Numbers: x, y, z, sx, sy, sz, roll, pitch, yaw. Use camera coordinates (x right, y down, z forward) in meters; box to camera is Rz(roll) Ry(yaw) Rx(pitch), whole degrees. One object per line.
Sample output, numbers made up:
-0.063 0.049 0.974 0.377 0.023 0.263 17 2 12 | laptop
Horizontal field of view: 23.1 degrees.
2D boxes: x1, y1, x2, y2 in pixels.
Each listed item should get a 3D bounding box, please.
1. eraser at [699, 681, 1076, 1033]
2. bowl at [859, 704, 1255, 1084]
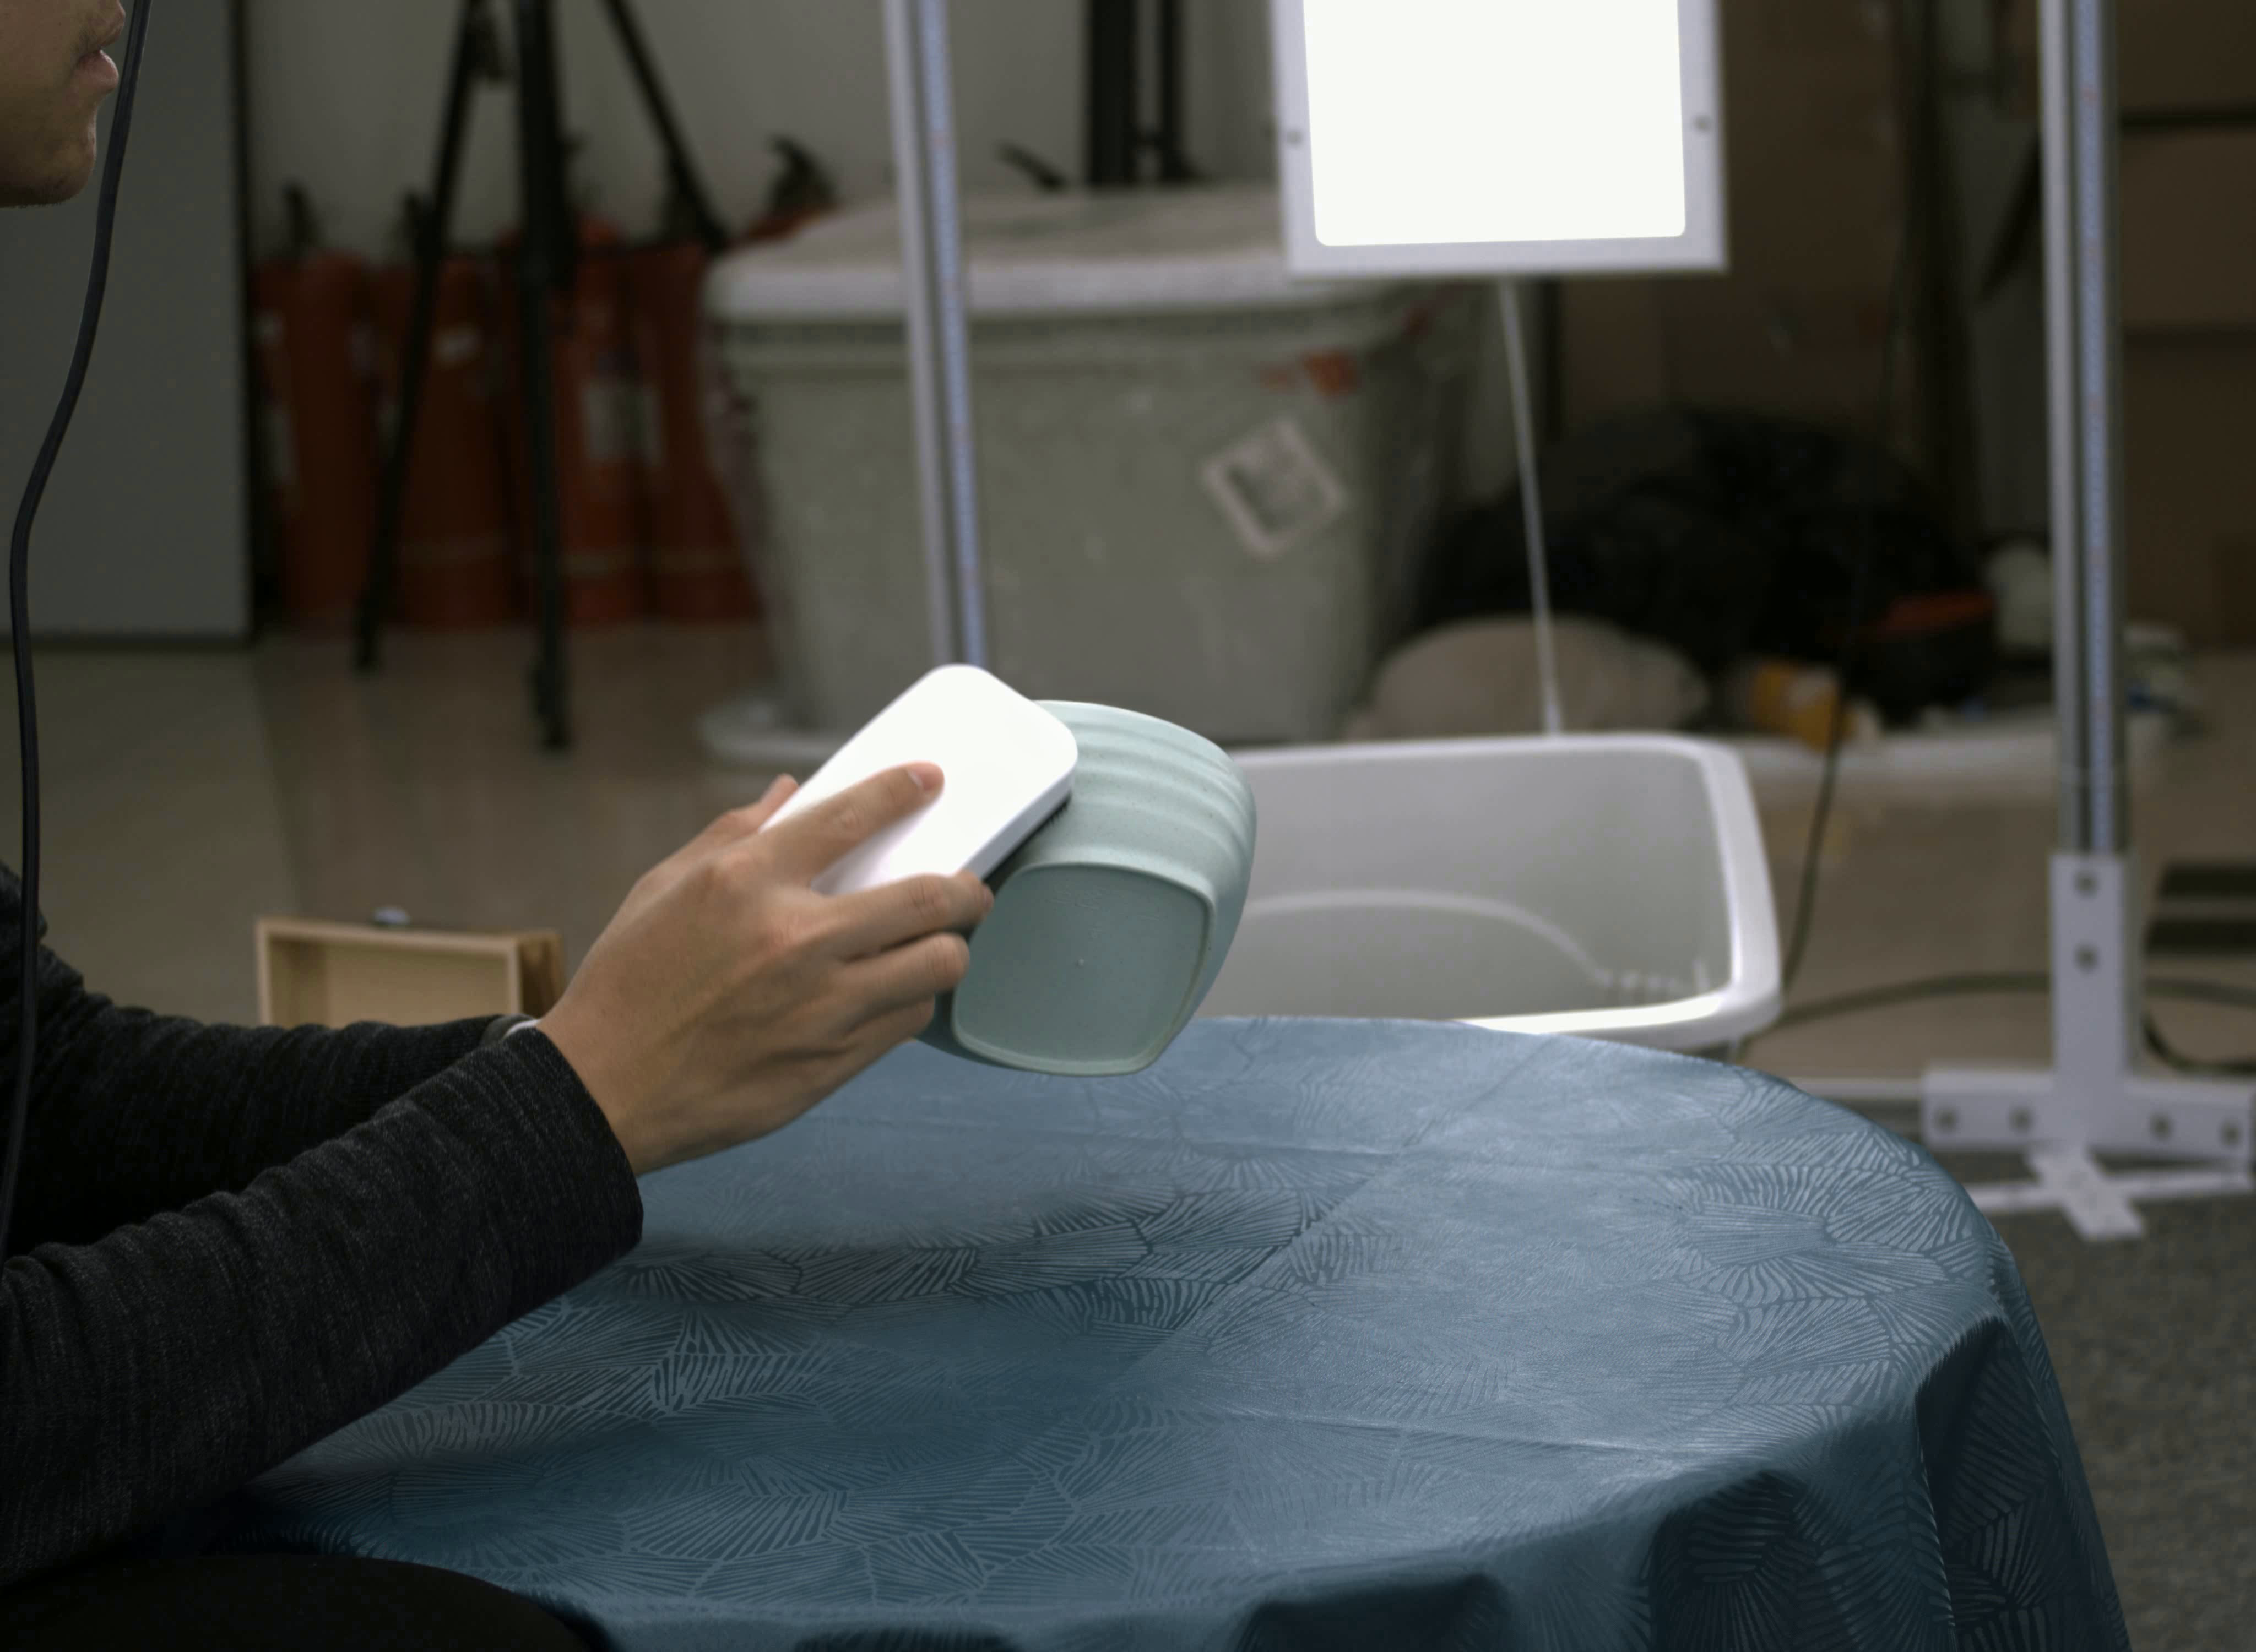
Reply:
-0.077 0.008 1.766 0.064 0.034 0.129 36 65 26 | eraser
-0.022 0.034 1.833 0.150 0.152 0.059 -6 34 -8 | bowl
